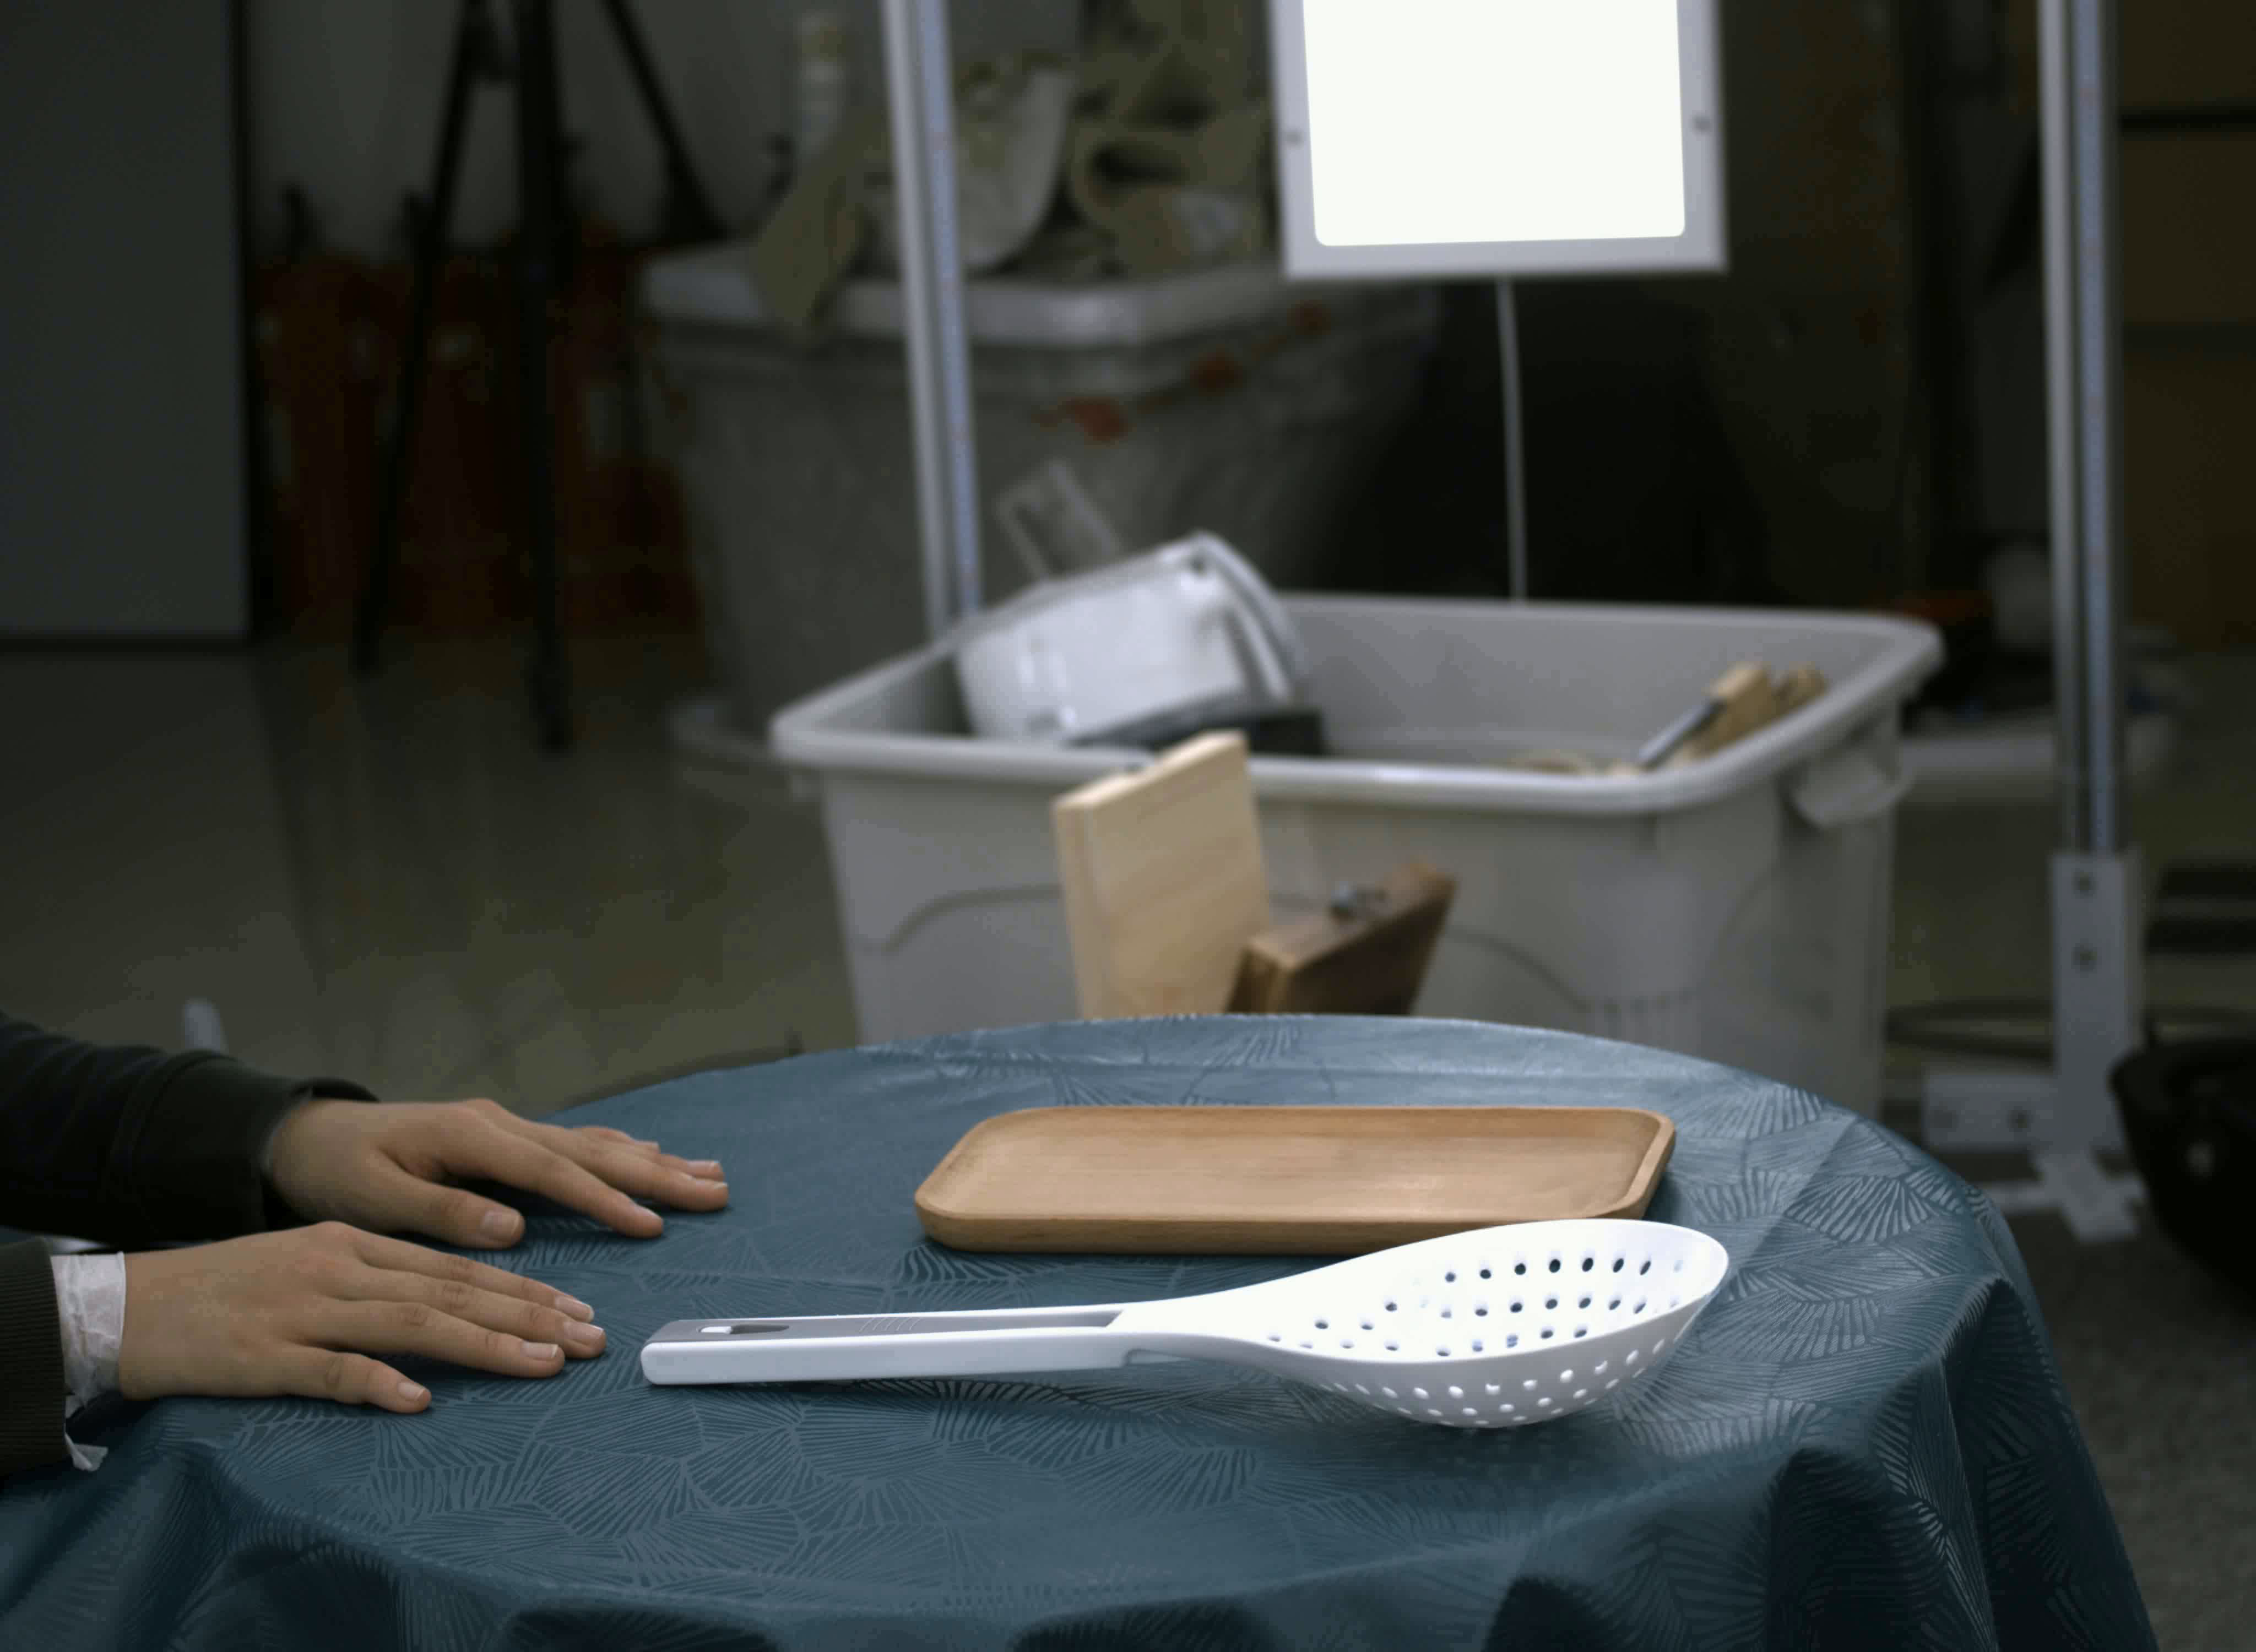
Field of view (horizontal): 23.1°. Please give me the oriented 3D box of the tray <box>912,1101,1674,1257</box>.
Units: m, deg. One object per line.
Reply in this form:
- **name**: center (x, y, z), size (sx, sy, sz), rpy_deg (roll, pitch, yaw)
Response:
- **tray**: center (0.057, 0.120, 1.870), size (0.253, 0.023, 0.128), rpy_deg (-2, 12, 17)

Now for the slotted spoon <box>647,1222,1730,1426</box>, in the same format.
- **slotted spoon**: center (0.014, 0.154, 1.685), size (0.354, 0.046, 0.133), rpy_deg (0, 12, 22)
